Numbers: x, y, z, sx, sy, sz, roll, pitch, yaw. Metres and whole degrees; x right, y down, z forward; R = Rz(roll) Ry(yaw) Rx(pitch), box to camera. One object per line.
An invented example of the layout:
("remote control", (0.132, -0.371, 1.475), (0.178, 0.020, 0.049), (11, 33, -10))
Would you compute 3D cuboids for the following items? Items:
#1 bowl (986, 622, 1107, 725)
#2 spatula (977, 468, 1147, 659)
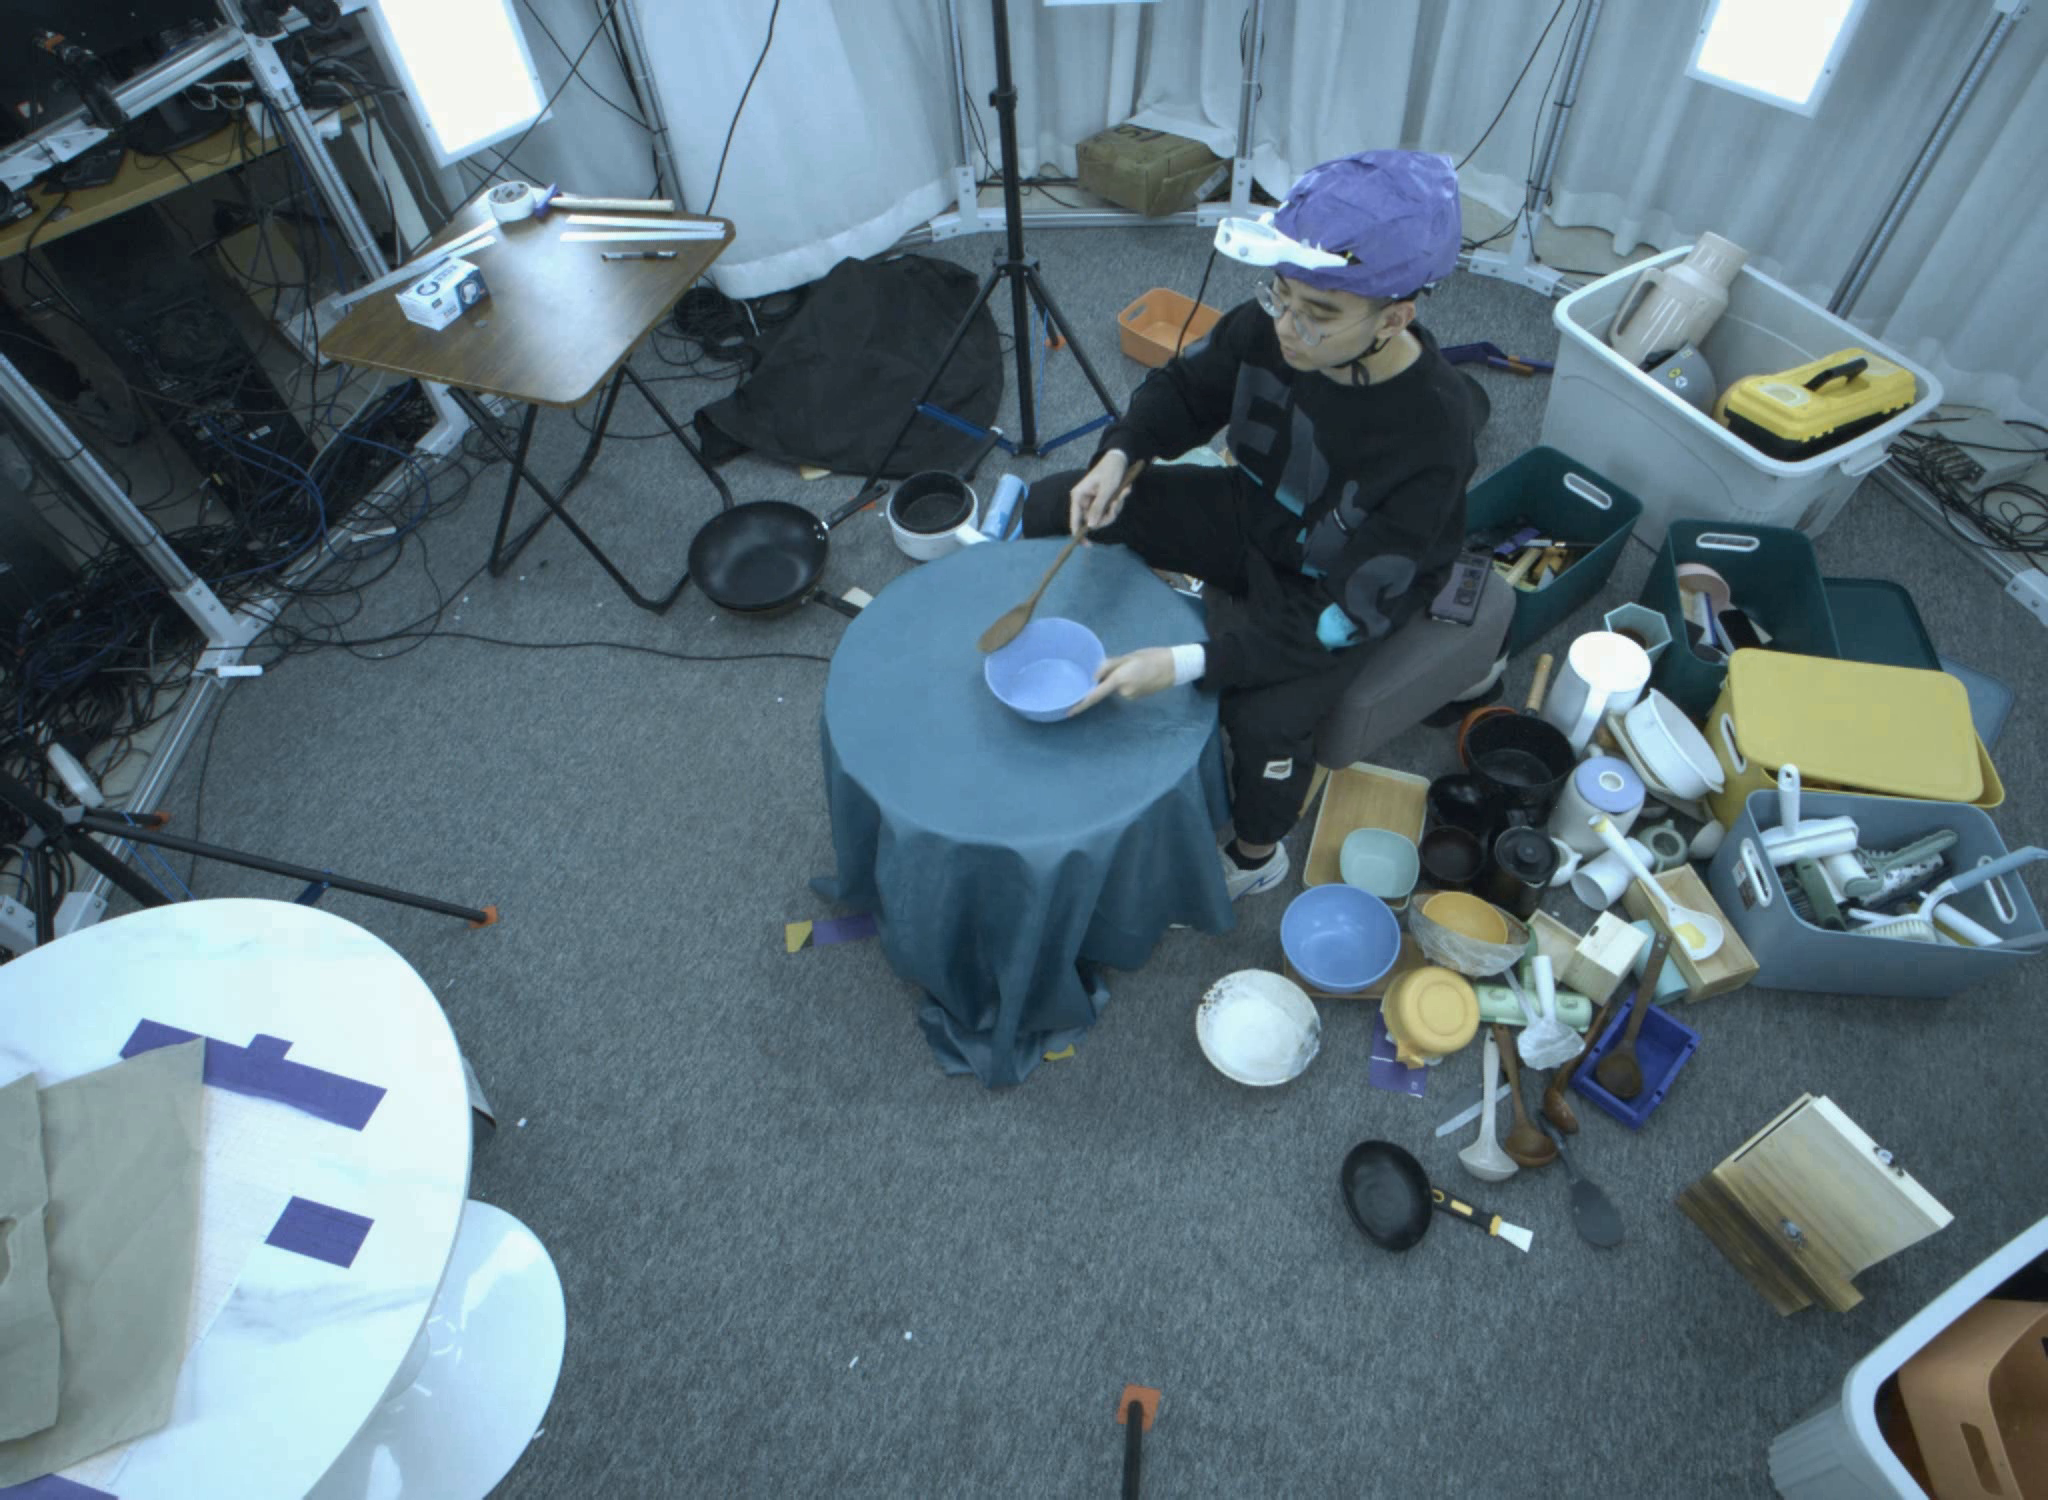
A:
("bowl", (0.035, -0.103, 1.818), (0.176, 0.071, 0.174), (-2, 55, 4))
("spatula", (0.062, -0.285, 1.843), (0.386, 0.016, 0.094), (-52, 27, -8))
